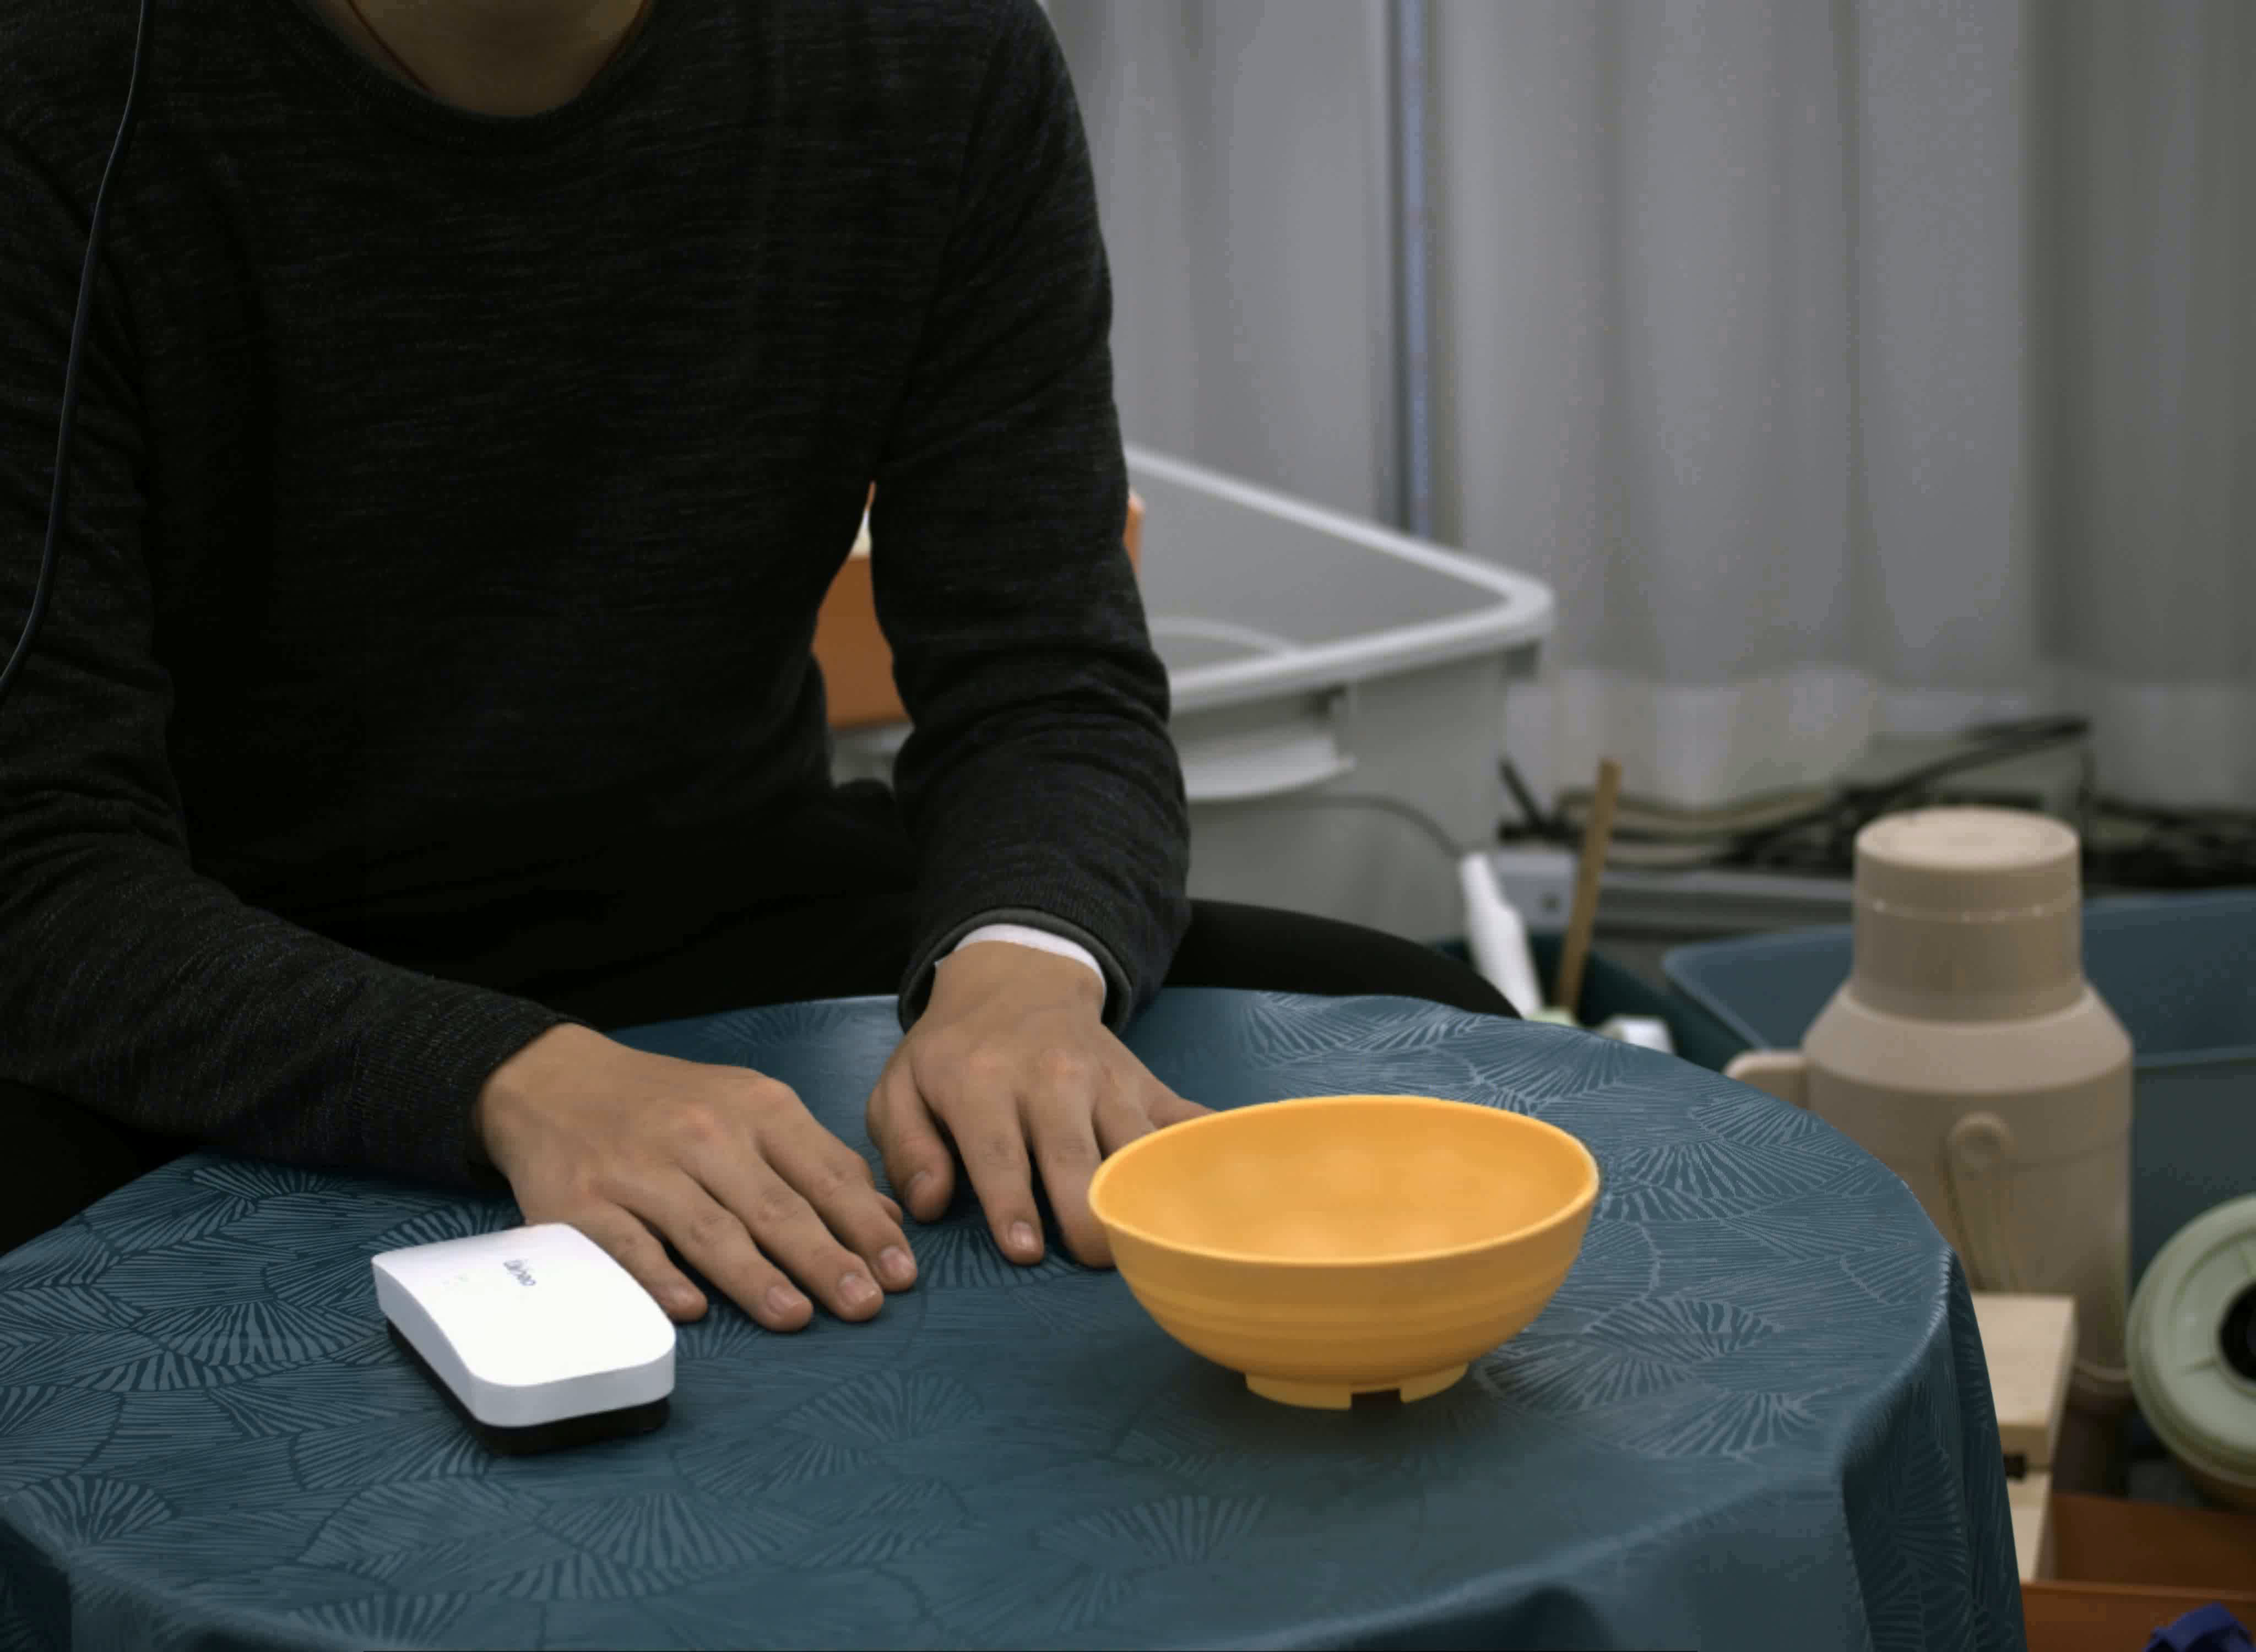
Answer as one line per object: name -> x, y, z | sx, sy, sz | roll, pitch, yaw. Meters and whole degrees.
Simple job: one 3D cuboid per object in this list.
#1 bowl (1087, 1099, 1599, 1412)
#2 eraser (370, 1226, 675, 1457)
bowl -> 0.061, 0.126, 1.545 | 0.145, 0.060, 0.146 | -1, 14, 0
eraser -> -0.174, 0.144, 1.577 | 0.063, 0.034, 0.132 | -7, 16, -21
